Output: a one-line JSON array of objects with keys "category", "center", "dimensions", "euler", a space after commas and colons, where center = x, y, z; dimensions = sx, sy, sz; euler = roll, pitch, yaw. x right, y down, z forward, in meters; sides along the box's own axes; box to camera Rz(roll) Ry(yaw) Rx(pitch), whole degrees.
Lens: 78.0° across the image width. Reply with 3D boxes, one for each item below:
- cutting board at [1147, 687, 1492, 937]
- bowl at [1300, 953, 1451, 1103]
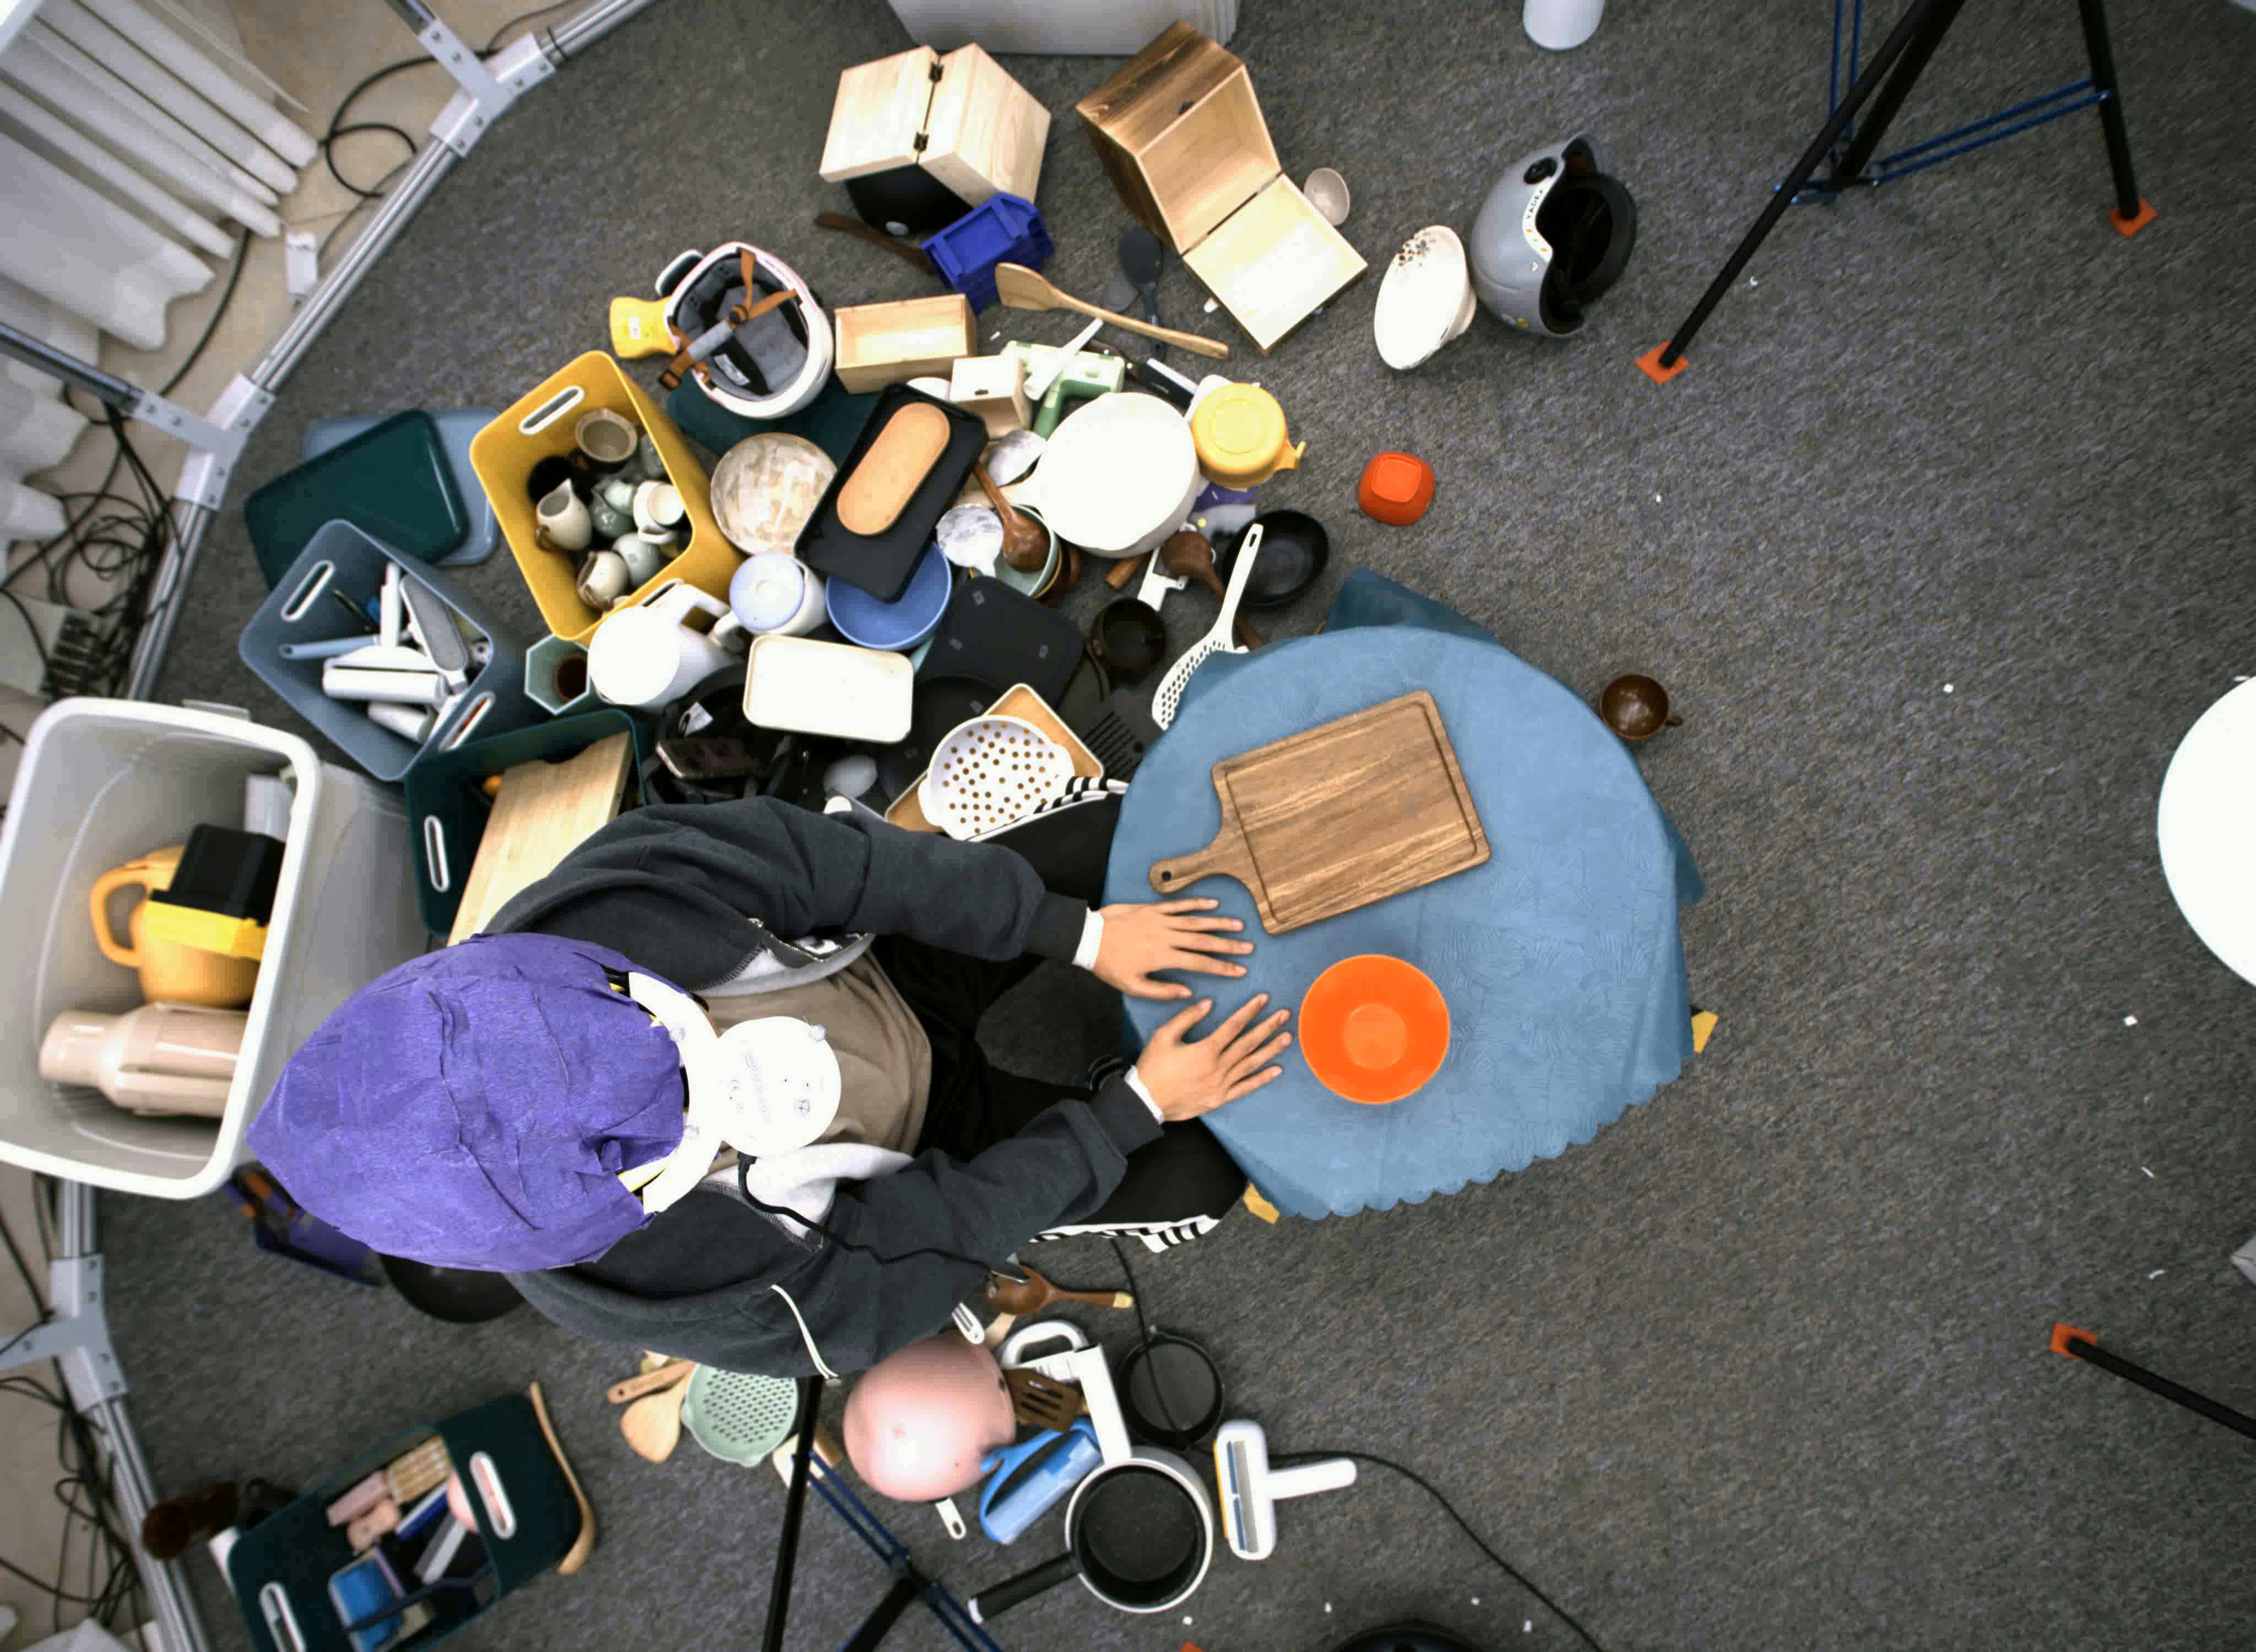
[{"category": "cutting board", "center": [0.186, 0.001, 1.468], "dimensions": [0.354, 0.023, 0.200], "euler": [-20, 83, 9]}, {"category": "bowl", "center": [0.251, 0.203, 1.405], "dimensions": [0.148, 0.105, 0.147], "euler": [-1, 86, 10]}]
